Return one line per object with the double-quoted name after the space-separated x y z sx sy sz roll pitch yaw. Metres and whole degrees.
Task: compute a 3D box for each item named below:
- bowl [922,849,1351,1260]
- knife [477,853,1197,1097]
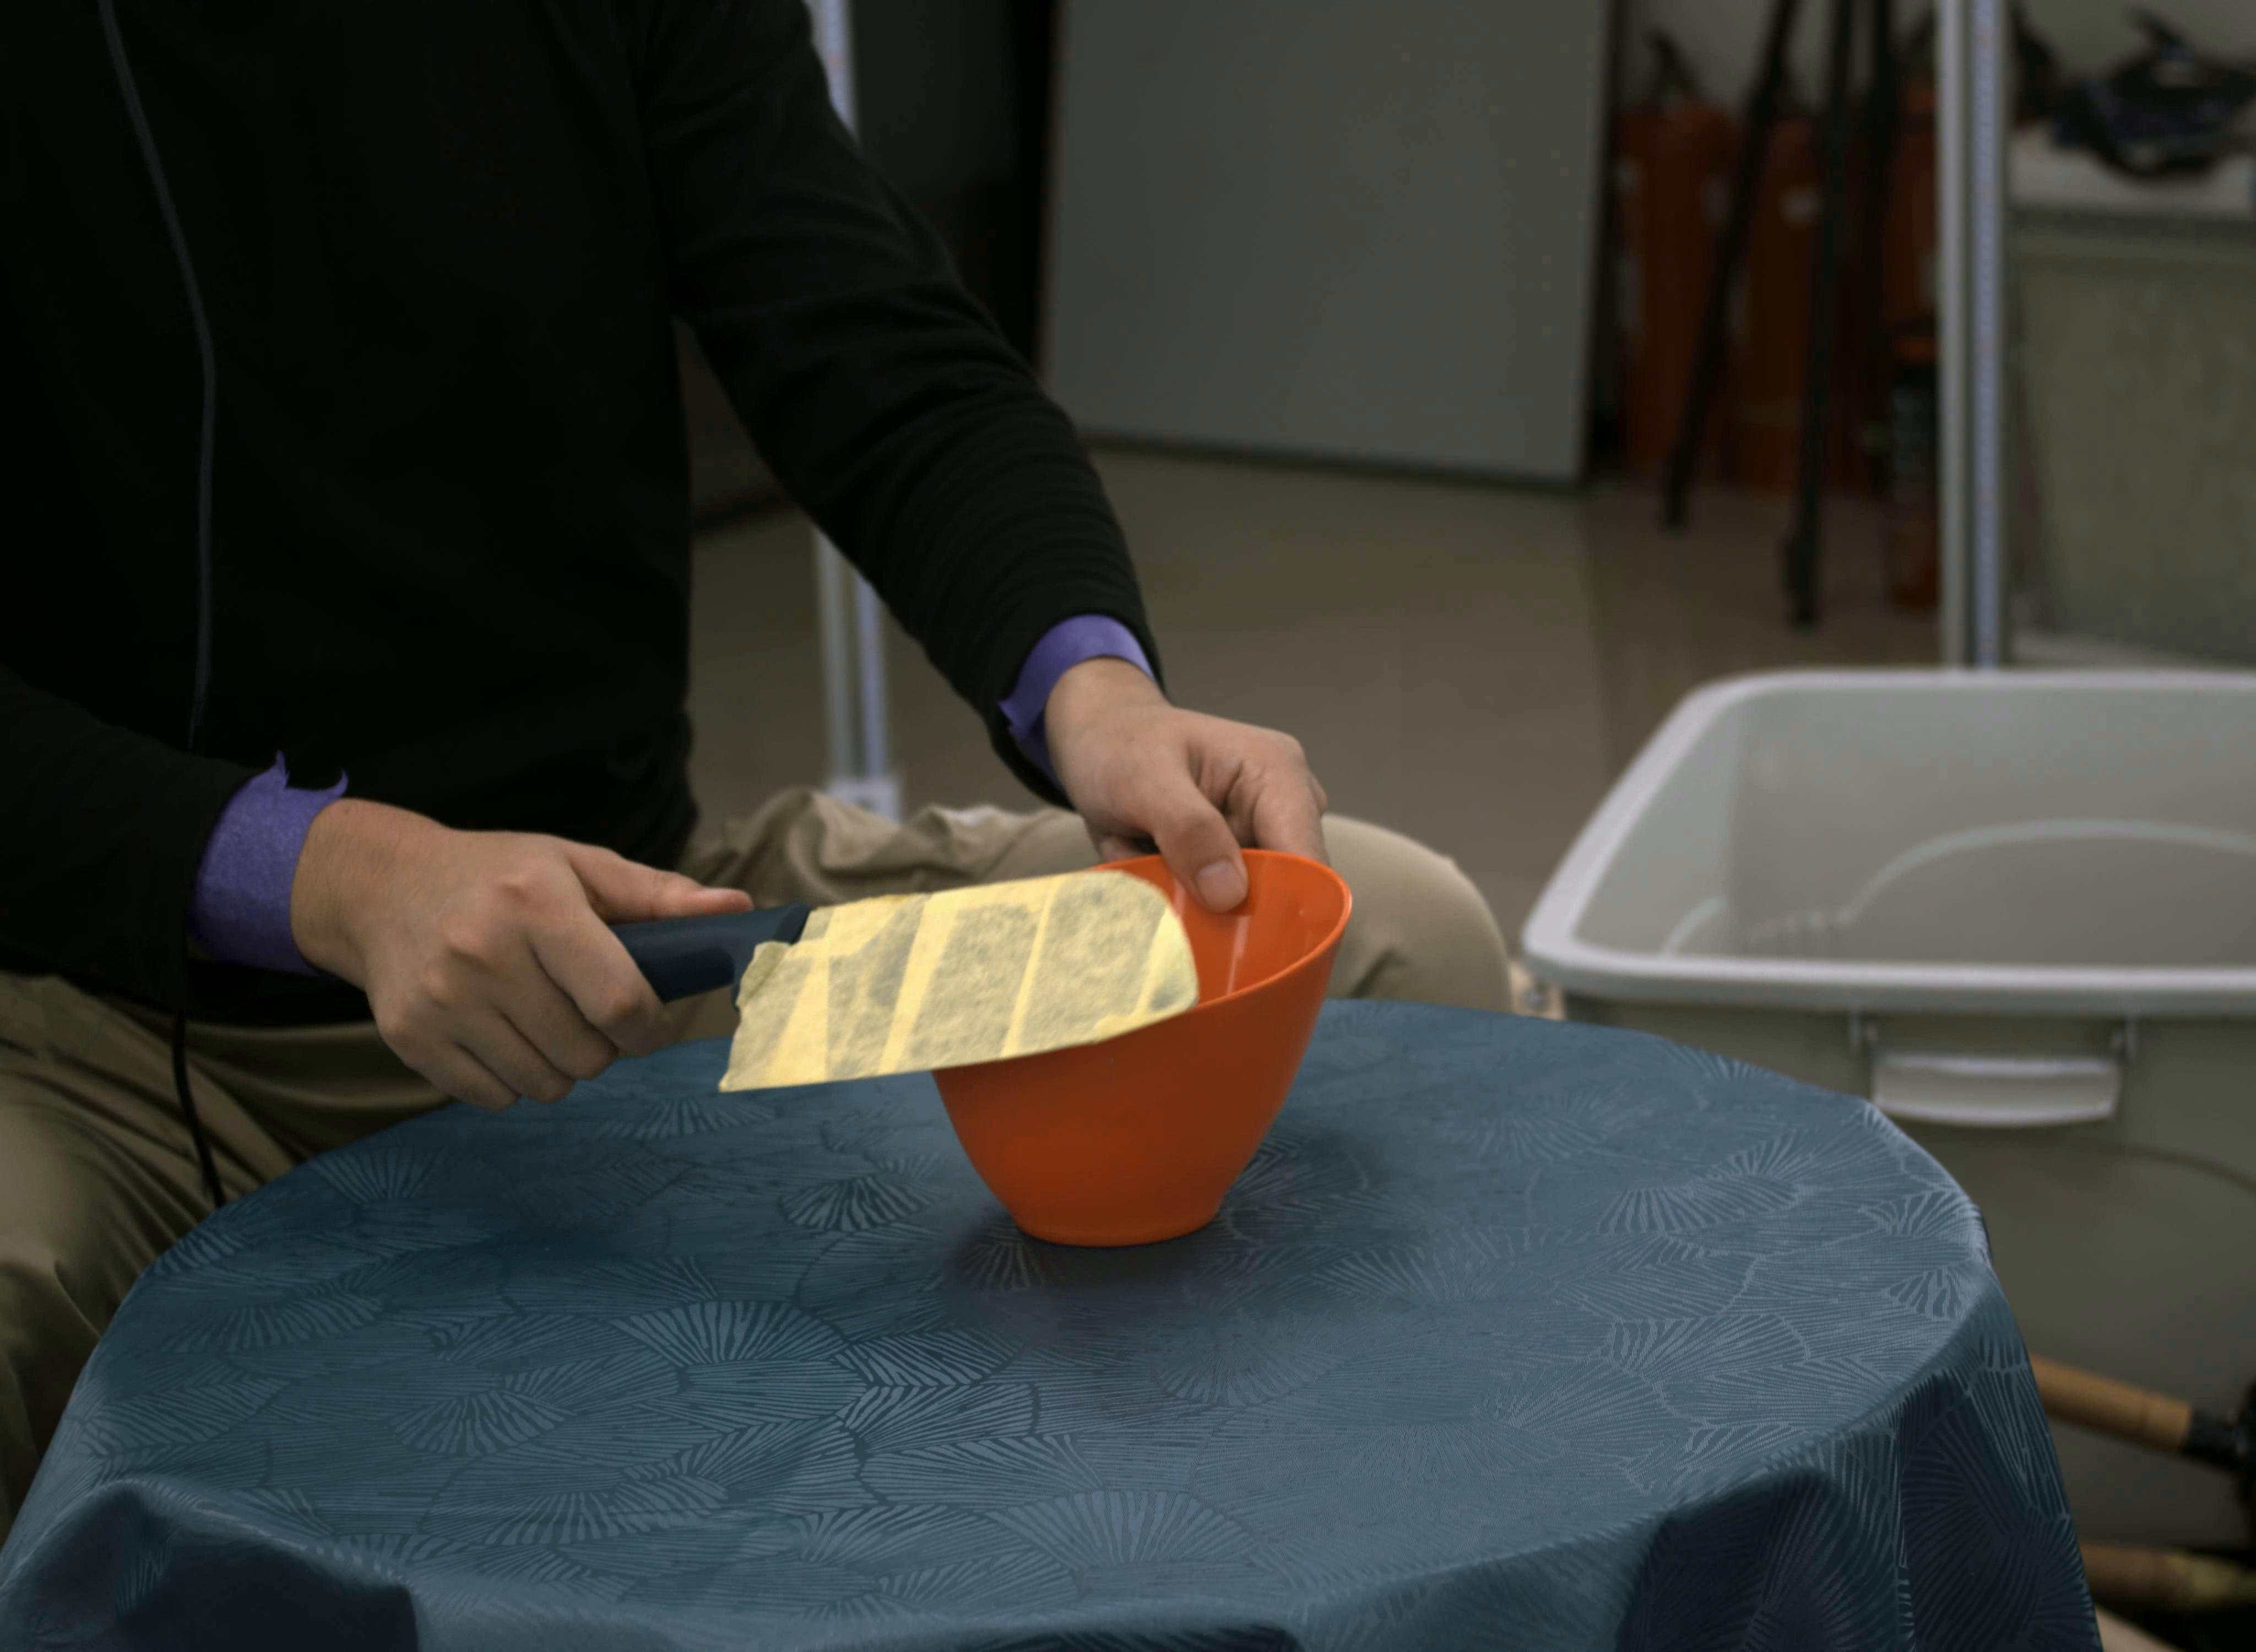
0.004 0.077 1.744 0.146 0.106 0.148 -6 15 1 "bowl"
-0.097 0.052 1.717 0.291 0.027 0.081 -9 45 34 "knife"
